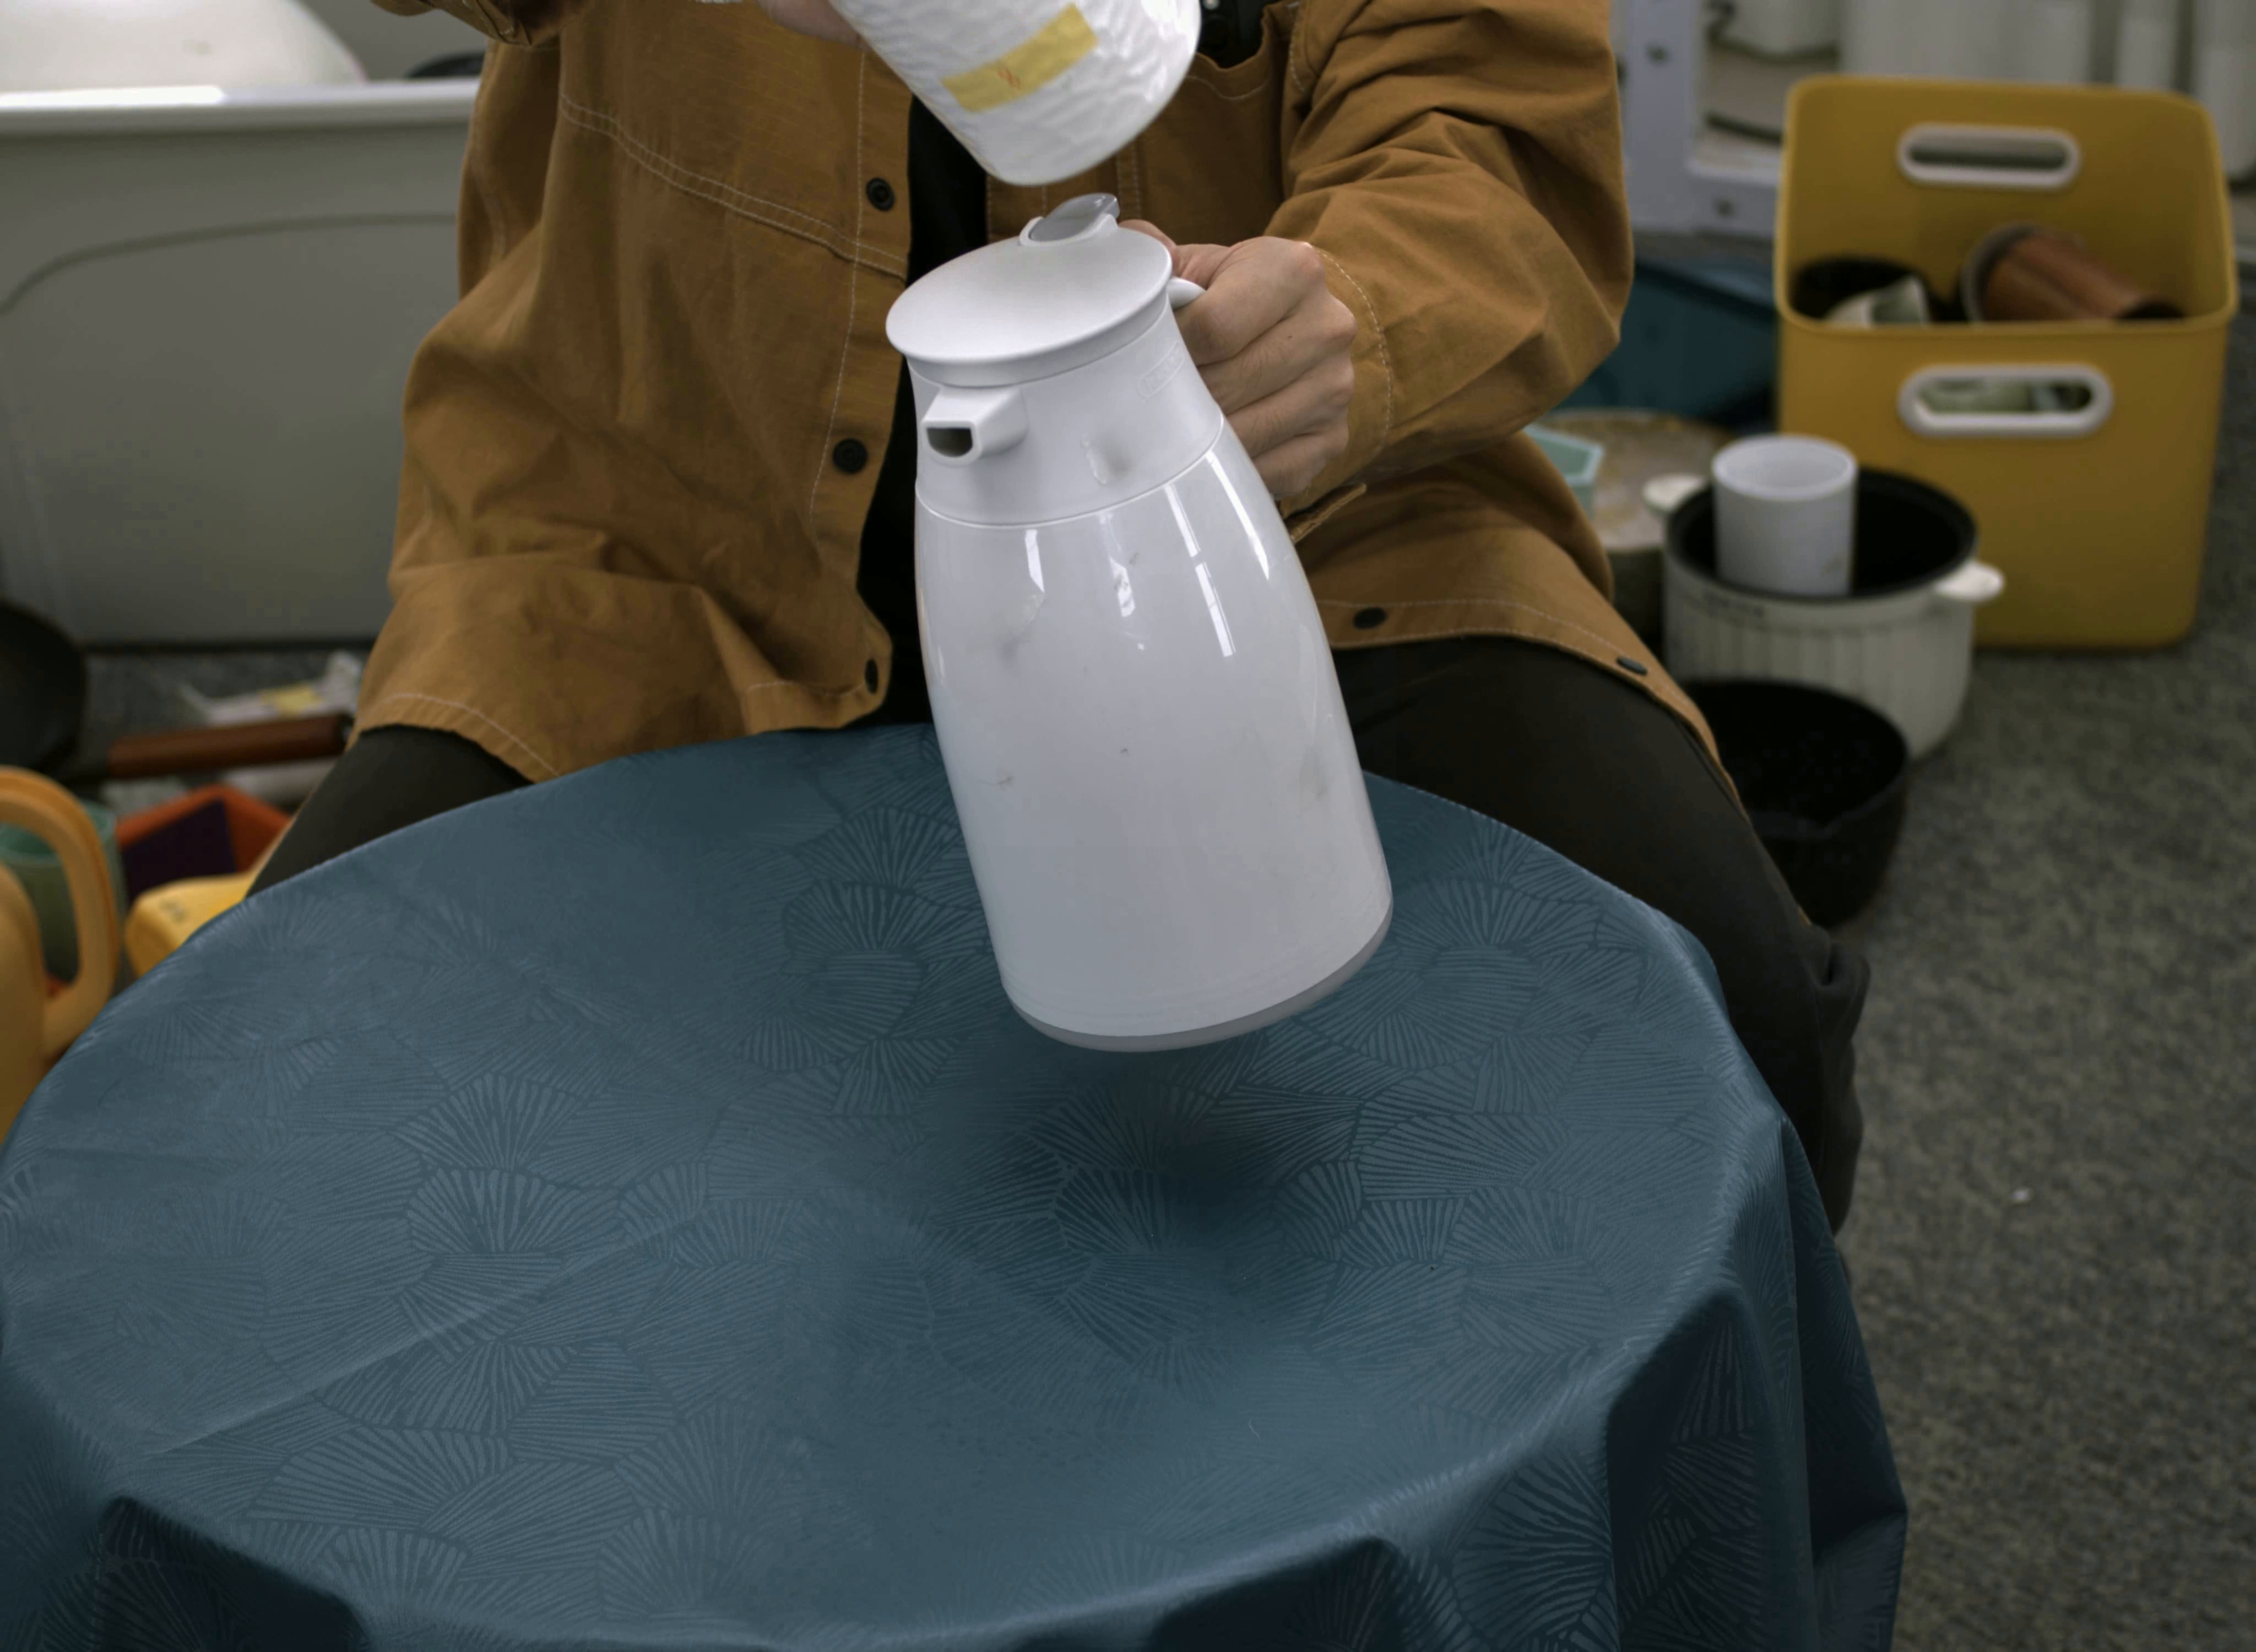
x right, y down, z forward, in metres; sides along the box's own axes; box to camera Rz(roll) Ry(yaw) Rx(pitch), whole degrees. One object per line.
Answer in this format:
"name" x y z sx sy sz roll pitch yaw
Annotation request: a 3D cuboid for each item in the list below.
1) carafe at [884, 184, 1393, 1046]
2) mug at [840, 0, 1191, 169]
"carafe" 0.002 -0.078 1.811 0.131 0.246 0.171 0 29 28
"mug" -0.050 -0.269 1.704 0.085 0.101 0.119 -44 39 1
